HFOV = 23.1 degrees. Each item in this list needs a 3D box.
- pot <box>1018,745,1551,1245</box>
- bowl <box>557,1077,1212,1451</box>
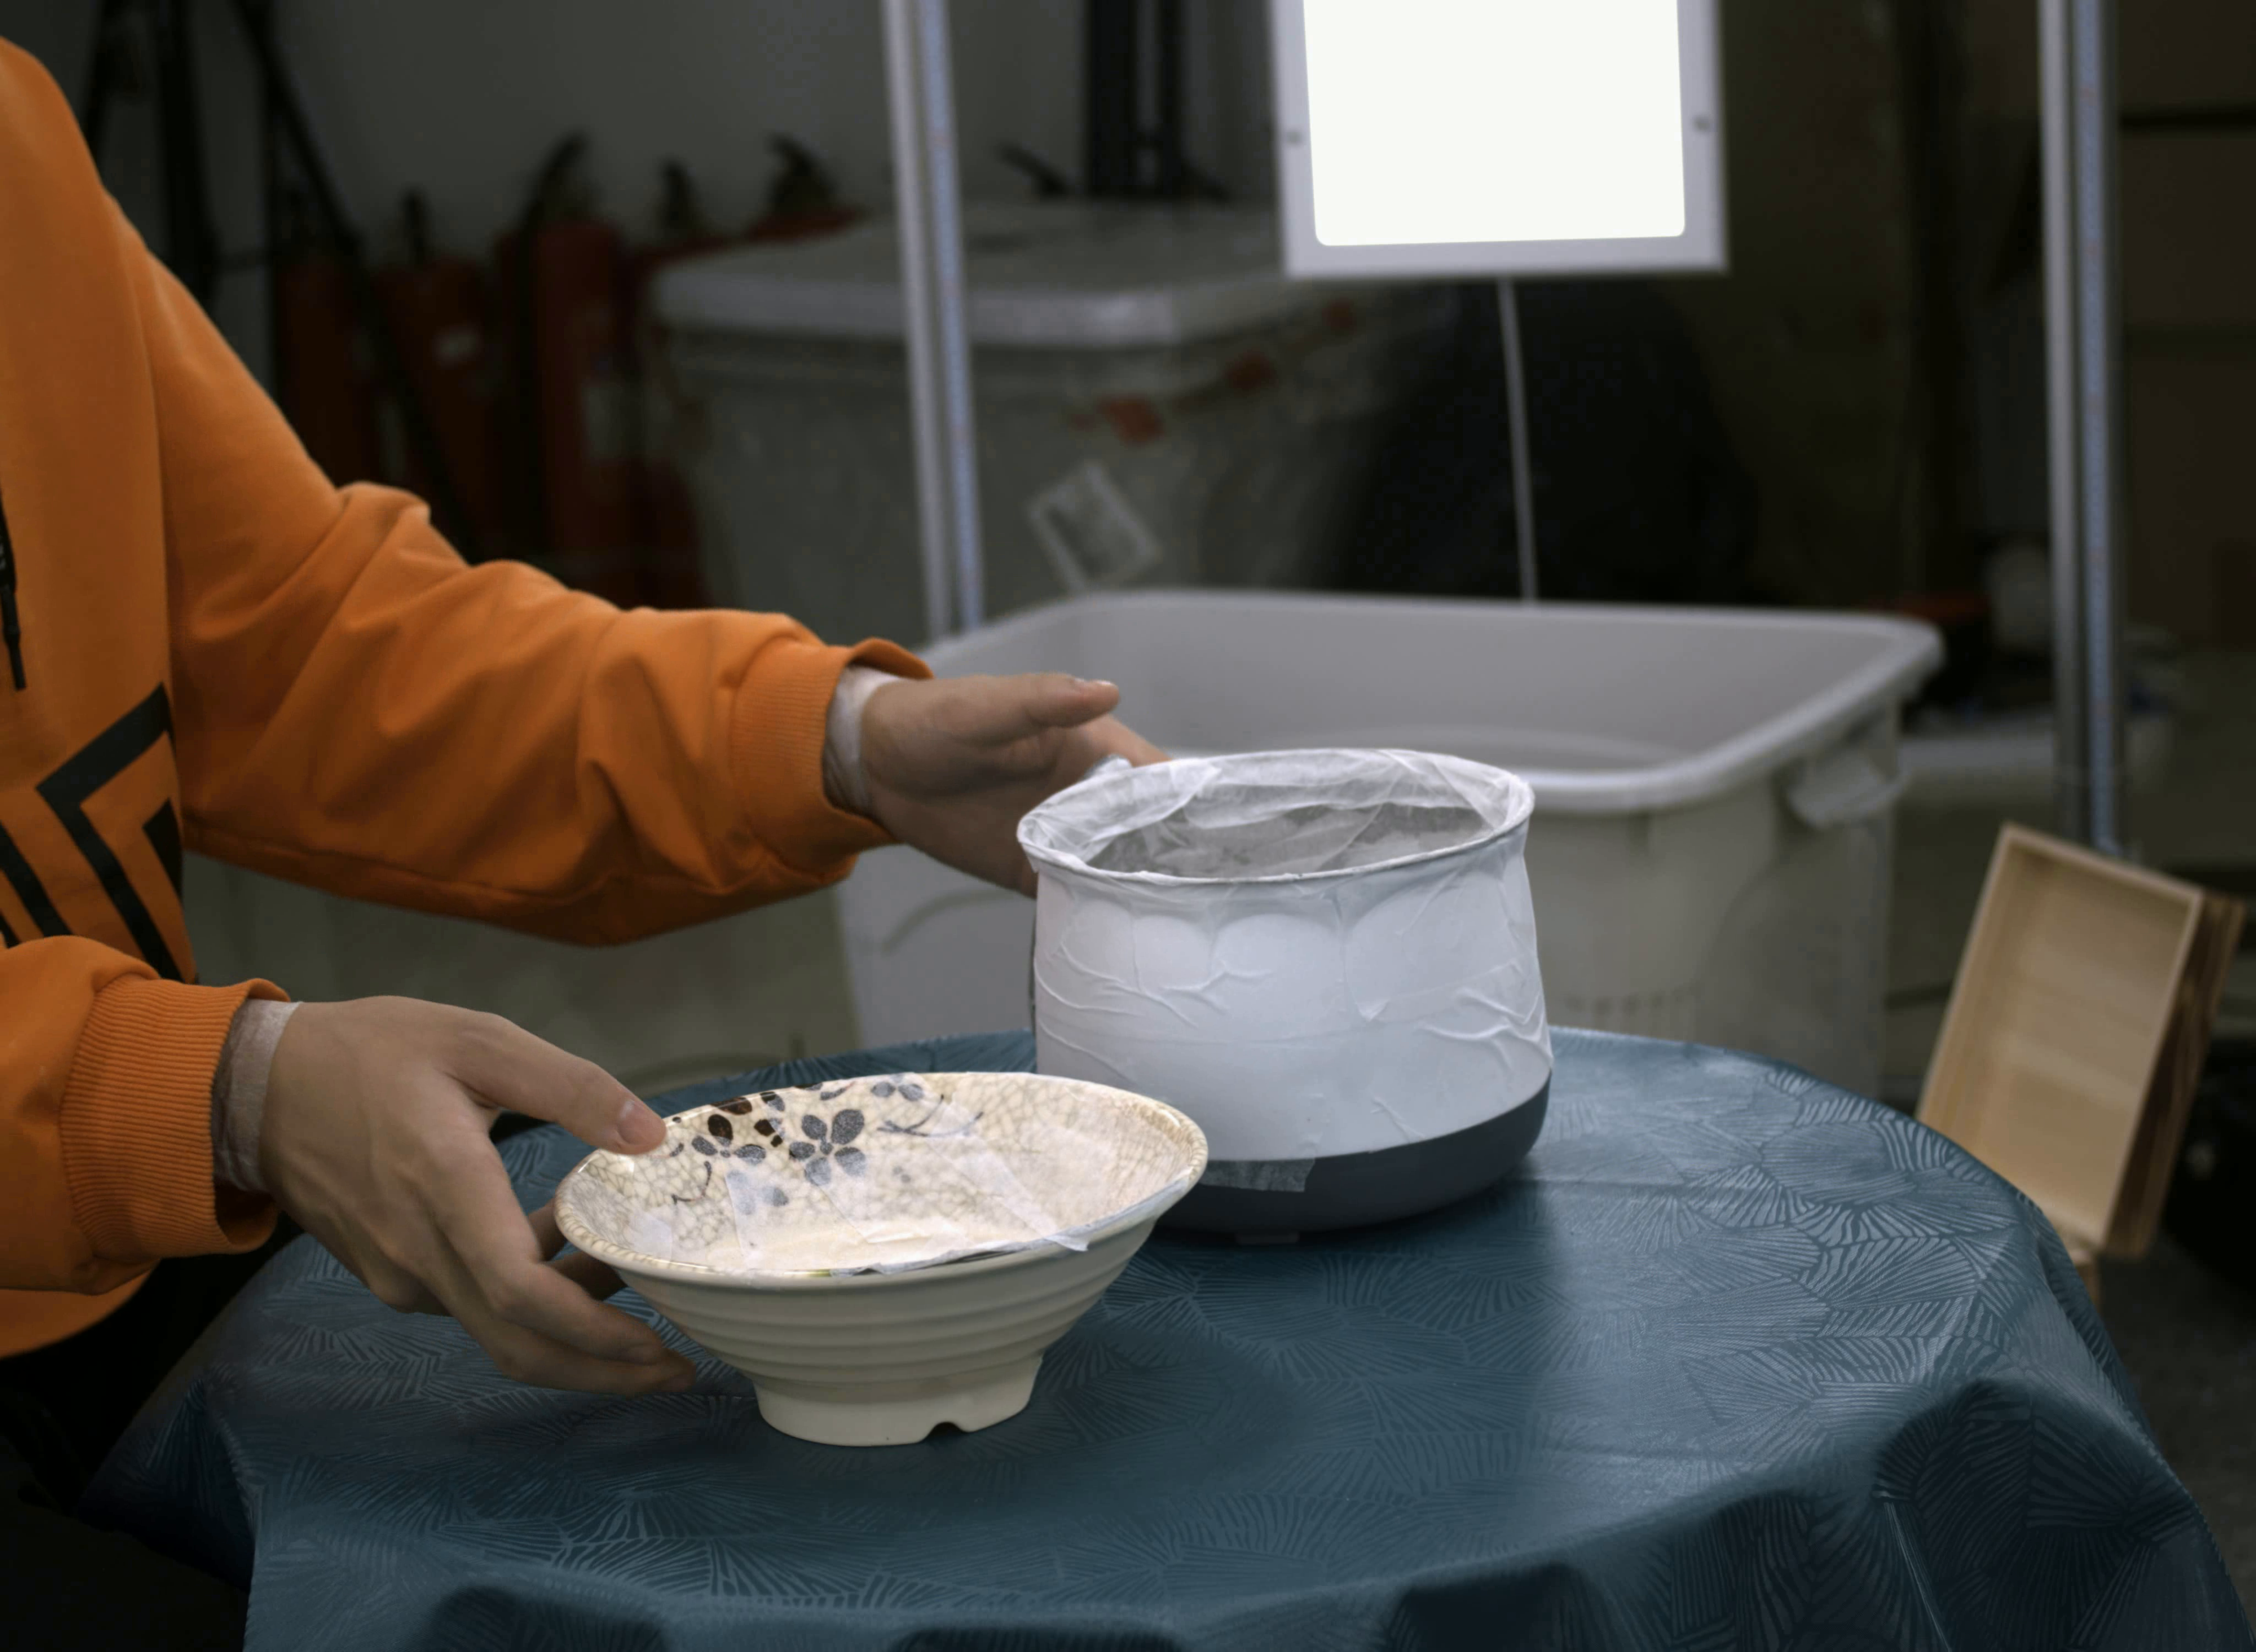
[{"bbox_3d":[0.039,0.051,1.899,0.174,0.137,0.238,-13,16,-33],"label":"pot"},{"bbox_3d":[-0.071,0.142,1.704,0.203,0.078,0.204,-7,13,0],"label":"bowl"}]
